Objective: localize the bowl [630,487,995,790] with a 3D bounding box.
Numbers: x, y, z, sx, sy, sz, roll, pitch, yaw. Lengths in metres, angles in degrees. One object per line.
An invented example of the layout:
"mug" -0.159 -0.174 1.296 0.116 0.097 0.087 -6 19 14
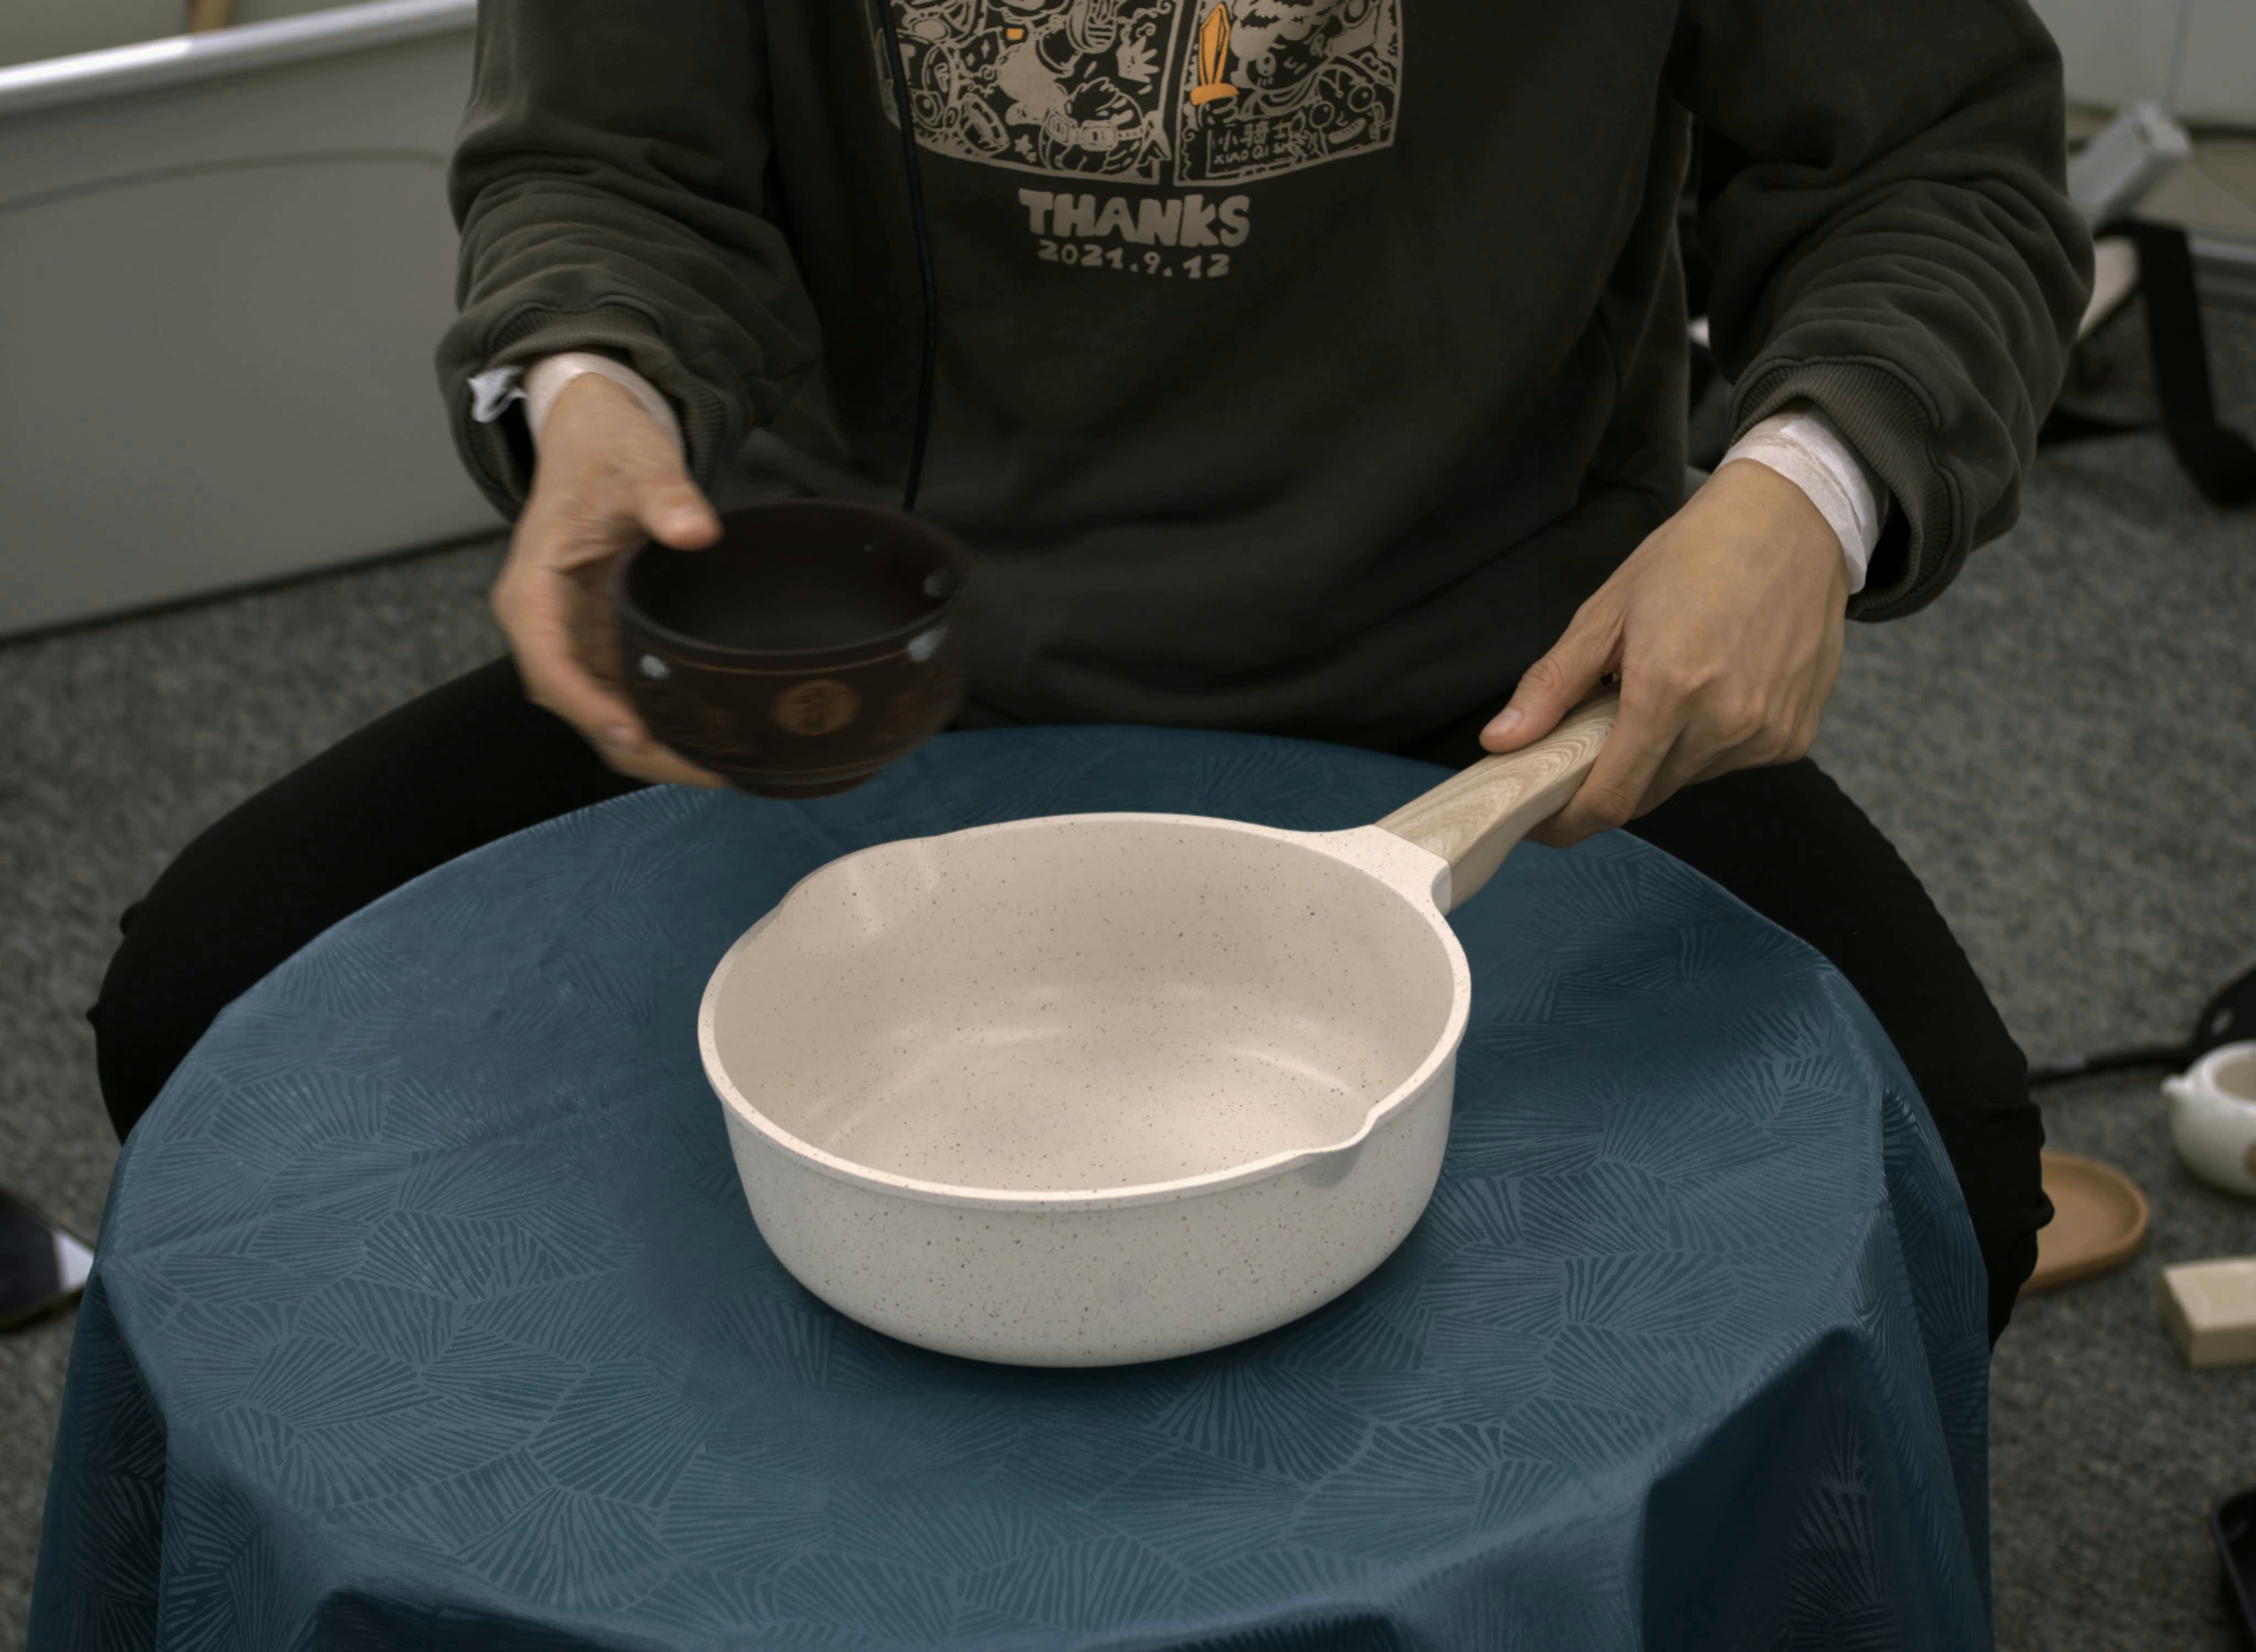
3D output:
"bowl" -0.101 -0.055 1.822 0.117 0.069 0.120 -2 27 1

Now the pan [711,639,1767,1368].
"pan" 0.061 0.053 1.880 0.439 0.101 0.263 -24 32 -35
